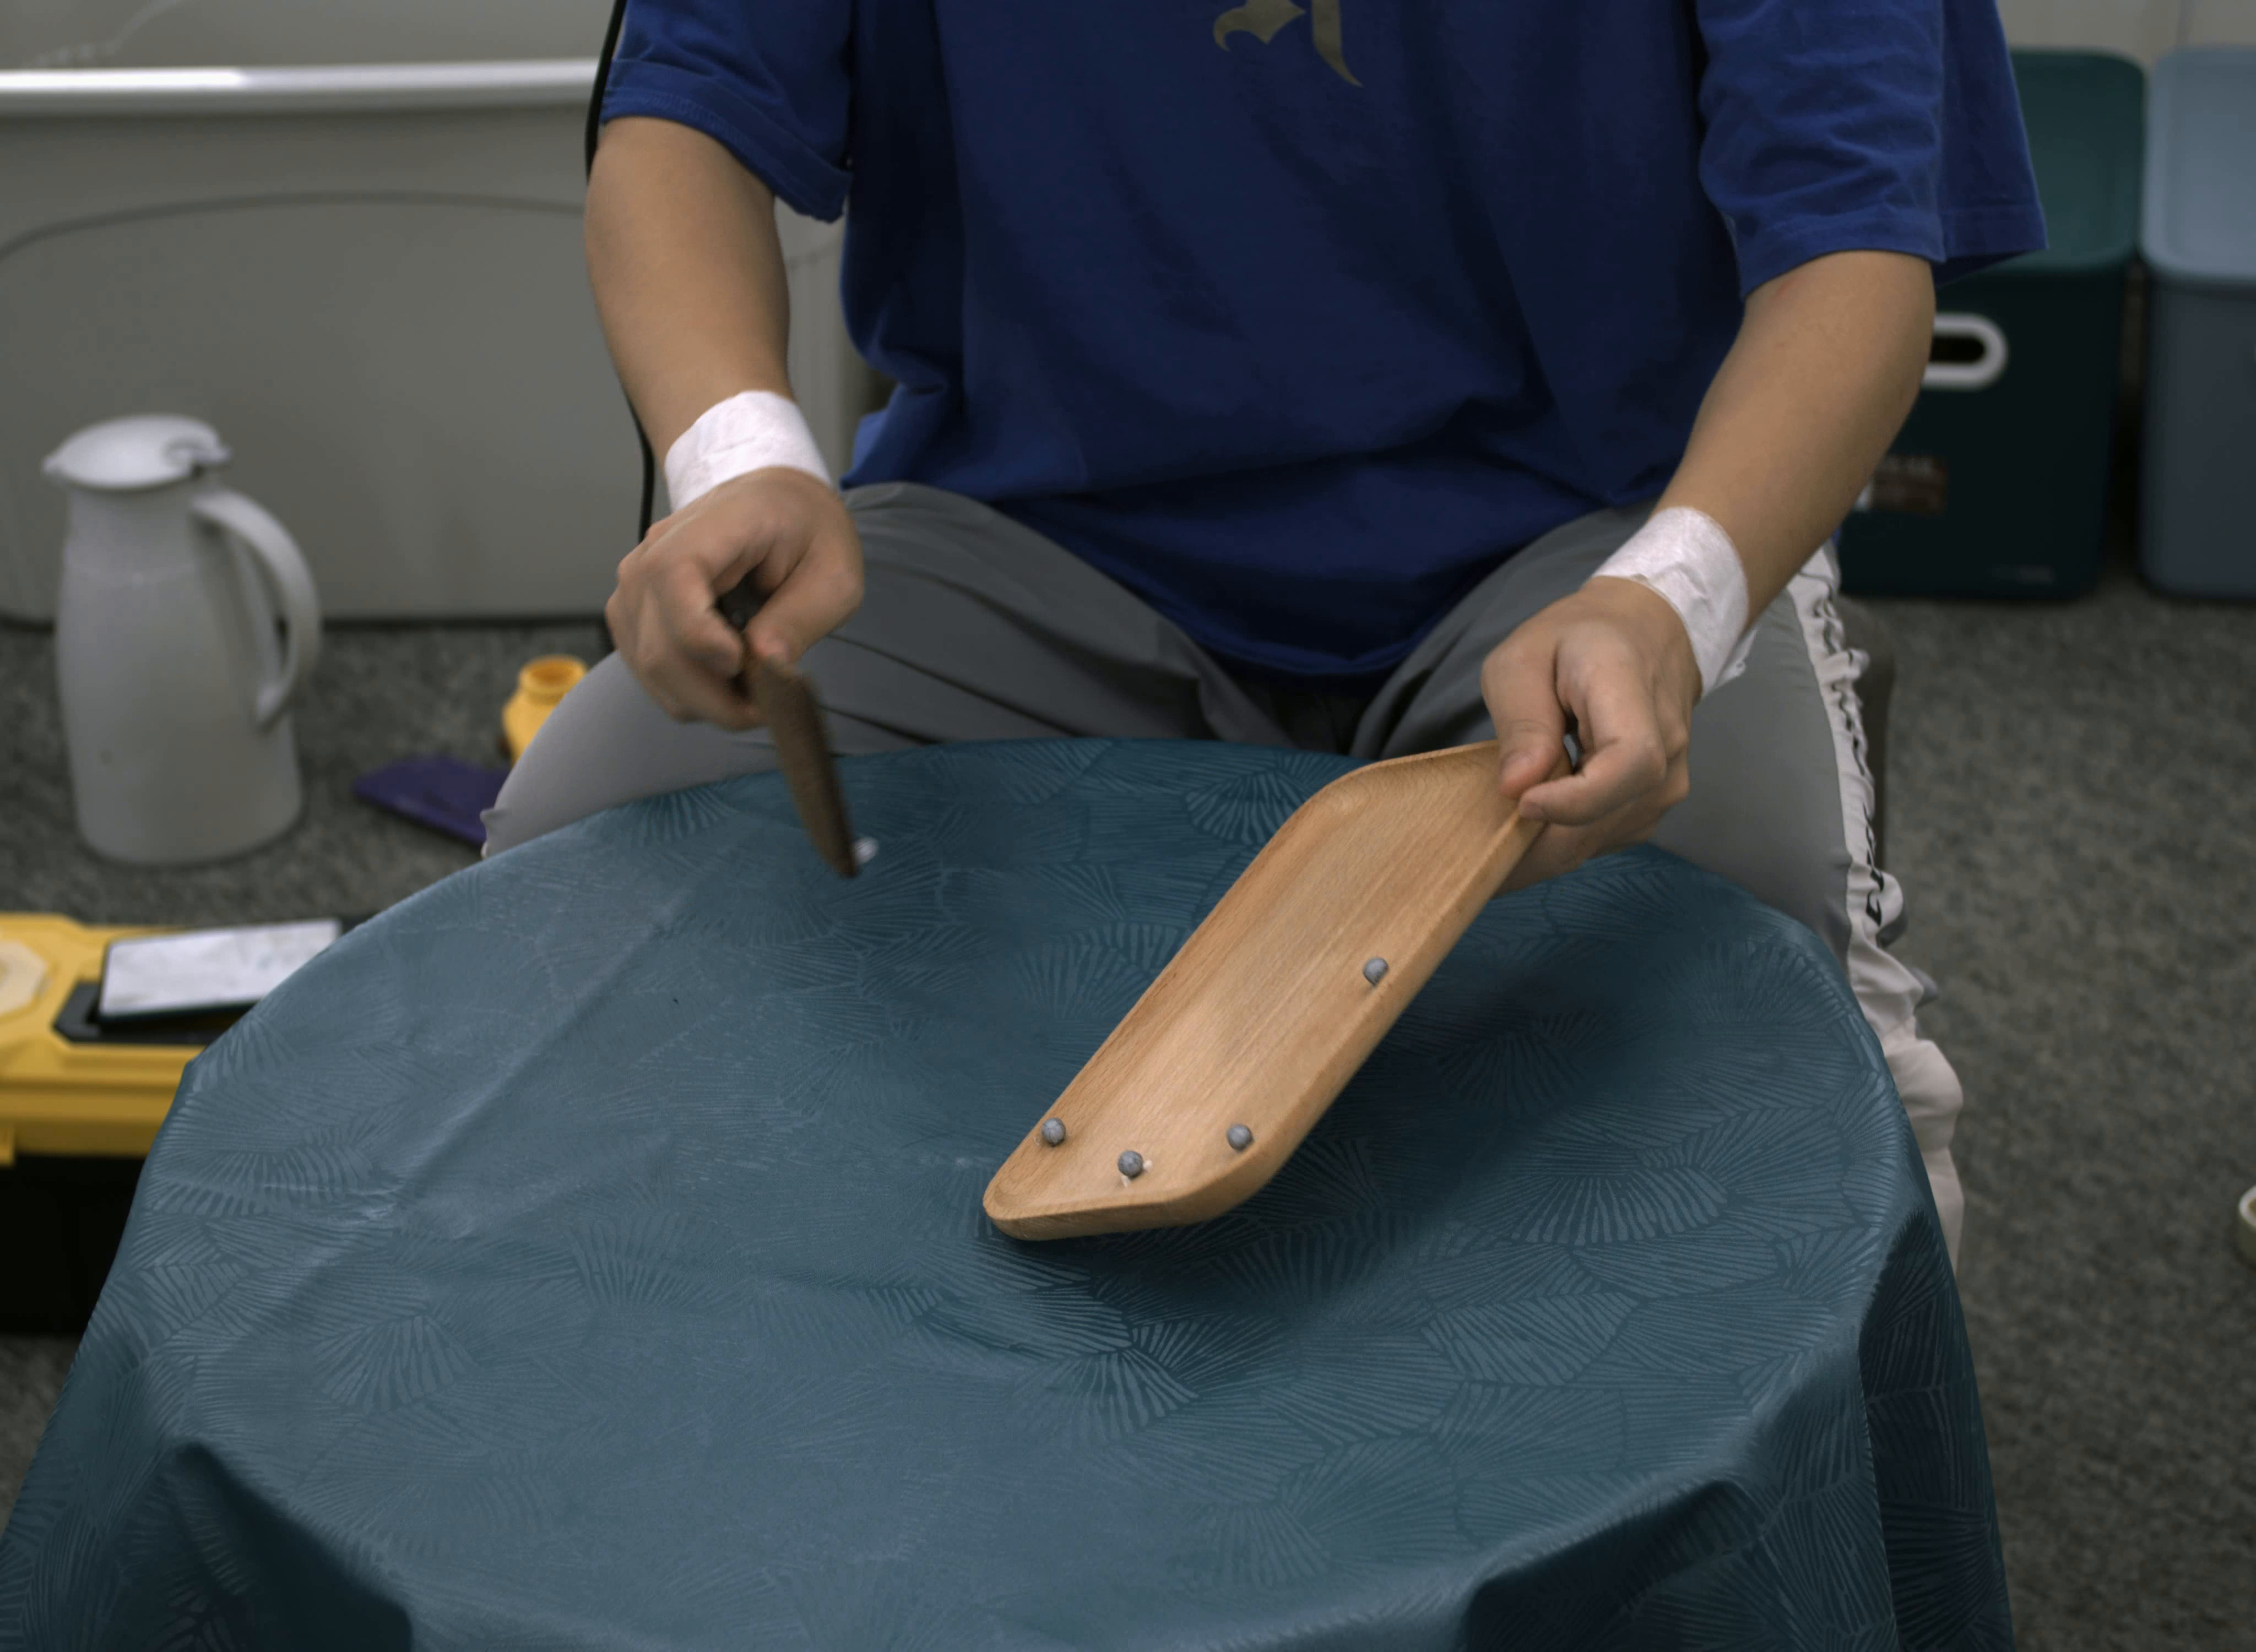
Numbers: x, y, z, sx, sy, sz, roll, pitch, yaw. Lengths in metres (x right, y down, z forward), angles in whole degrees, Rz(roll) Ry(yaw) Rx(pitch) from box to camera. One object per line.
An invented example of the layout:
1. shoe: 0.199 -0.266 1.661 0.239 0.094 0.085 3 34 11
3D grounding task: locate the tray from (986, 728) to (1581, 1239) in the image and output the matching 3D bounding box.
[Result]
1. tray: 0.055 0.052 1.876 0.129 0.023 0.255 -6 32 43

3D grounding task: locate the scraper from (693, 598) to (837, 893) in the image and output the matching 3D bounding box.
1. scraper: -0.128 -0.039 1.916 0.011 0.075 0.212 -17 20 -8
